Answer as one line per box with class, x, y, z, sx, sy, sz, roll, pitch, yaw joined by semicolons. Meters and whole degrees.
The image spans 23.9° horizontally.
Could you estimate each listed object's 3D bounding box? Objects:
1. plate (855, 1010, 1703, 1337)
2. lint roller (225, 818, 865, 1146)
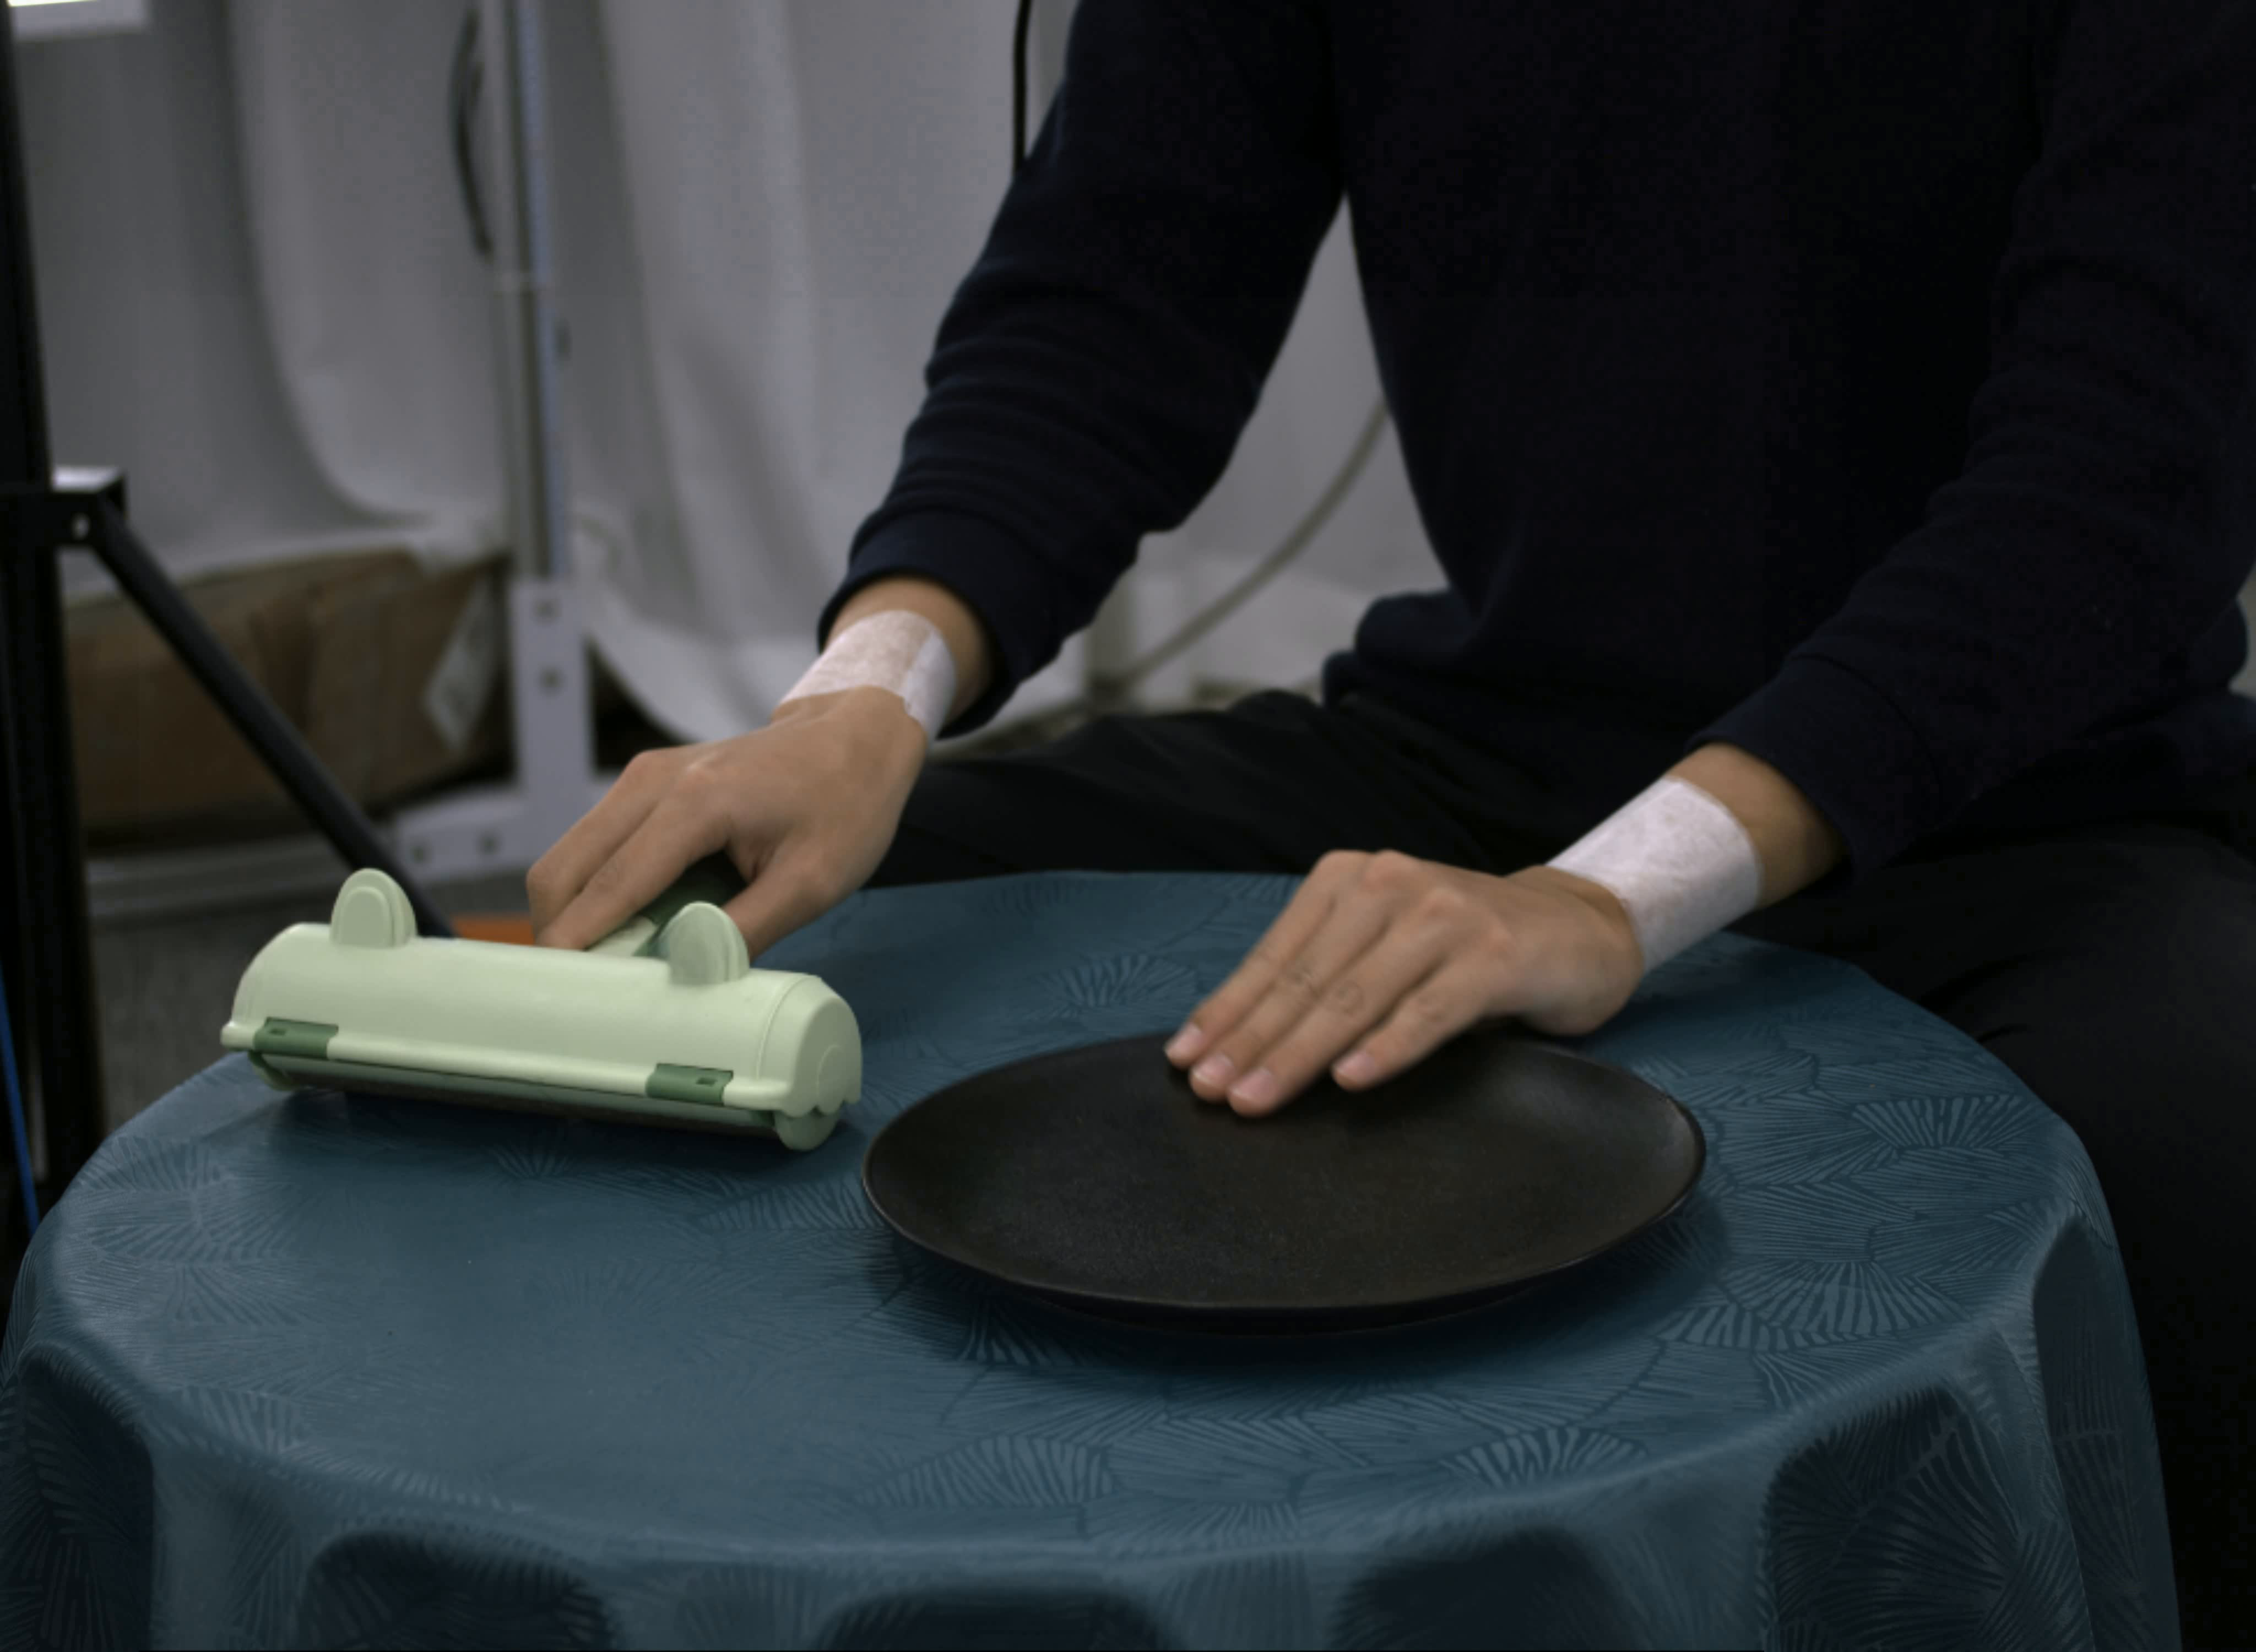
plate;0.044;0.102;1.521;0.243;0.023;0.246;-3;17;0
lint roller;-0.161;0.027;1.682;0.201;0.081;0.182;5;35;23
